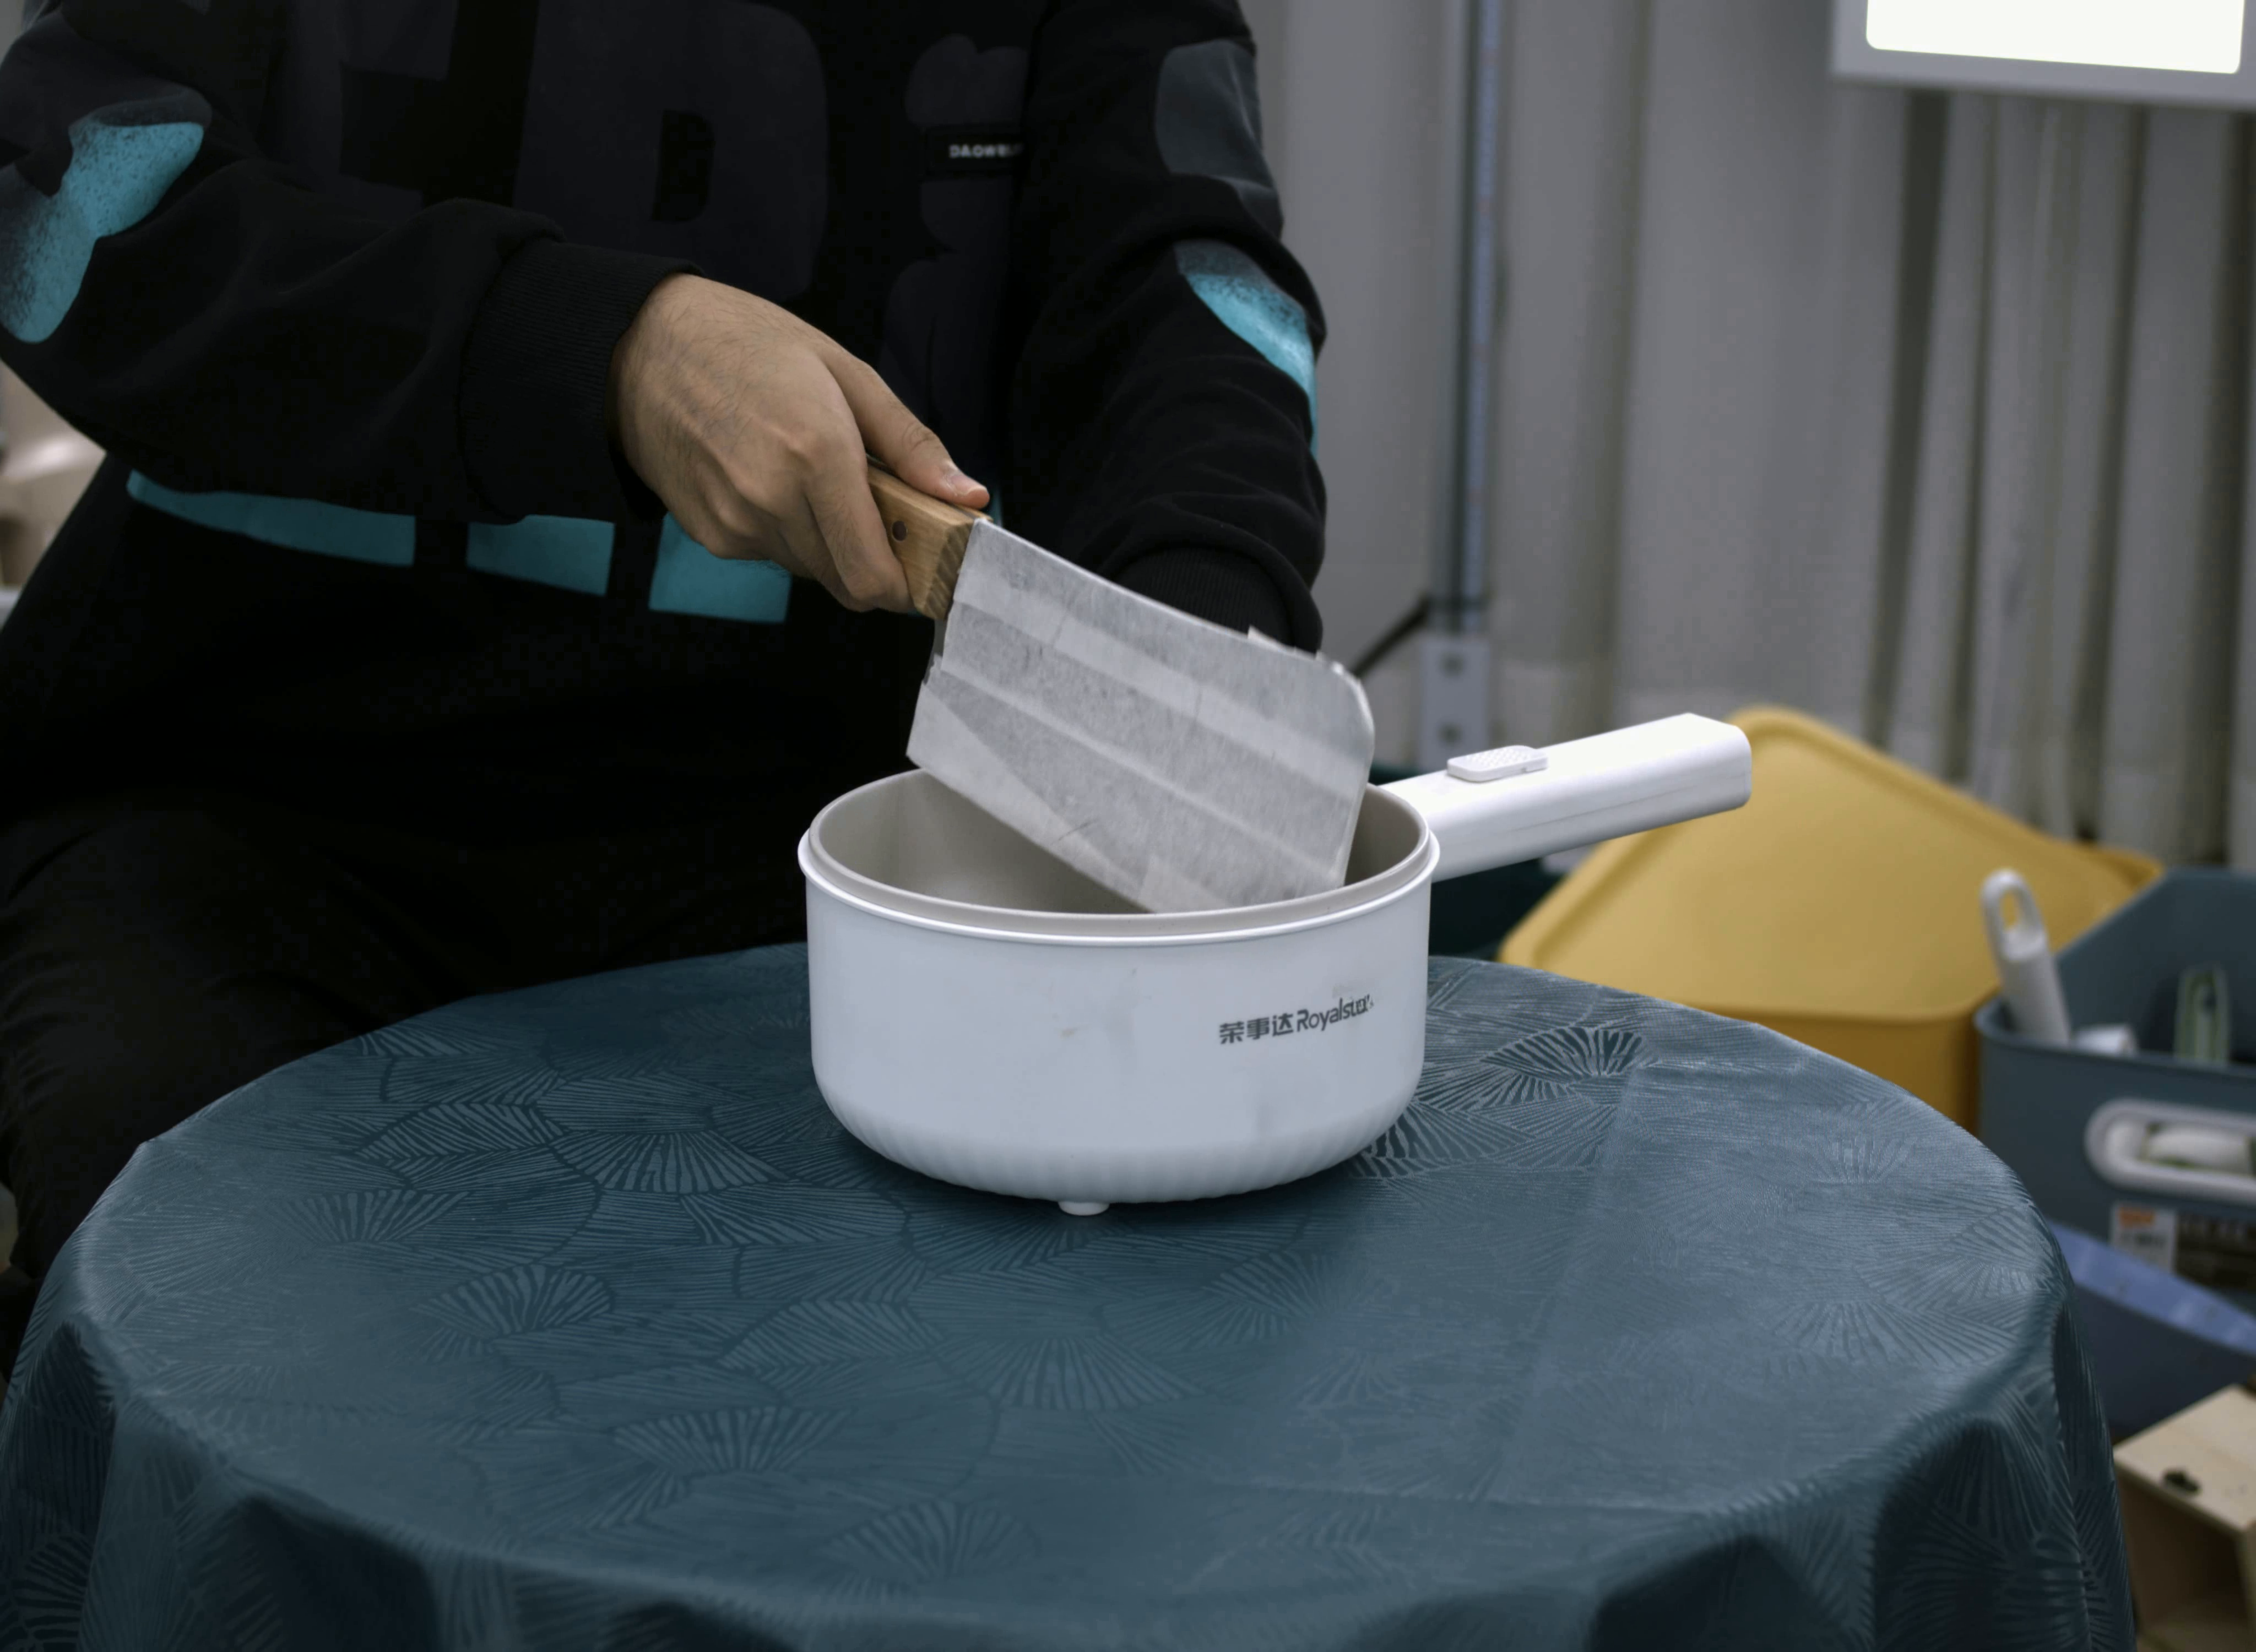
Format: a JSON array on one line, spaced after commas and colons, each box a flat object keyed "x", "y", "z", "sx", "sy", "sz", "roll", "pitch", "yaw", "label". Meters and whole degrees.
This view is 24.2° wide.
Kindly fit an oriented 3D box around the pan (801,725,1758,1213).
[{"x": 0.059, "y": 0.038, "z": 1.706, "sx": 0.356, "sy": 0.103, "sz": 0.198, "roll": -10, "pitch": 18, "yaw": -36, "label": "pan"}]

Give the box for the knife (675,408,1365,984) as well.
[{"x": -0.038, "y": -0.056, "z": 1.667, "sx": 0.311, "sy": 0.114, "sz": 0.022, "roll": 34, "pitch": 26, "yaw": 34, "label": "knife"}]
